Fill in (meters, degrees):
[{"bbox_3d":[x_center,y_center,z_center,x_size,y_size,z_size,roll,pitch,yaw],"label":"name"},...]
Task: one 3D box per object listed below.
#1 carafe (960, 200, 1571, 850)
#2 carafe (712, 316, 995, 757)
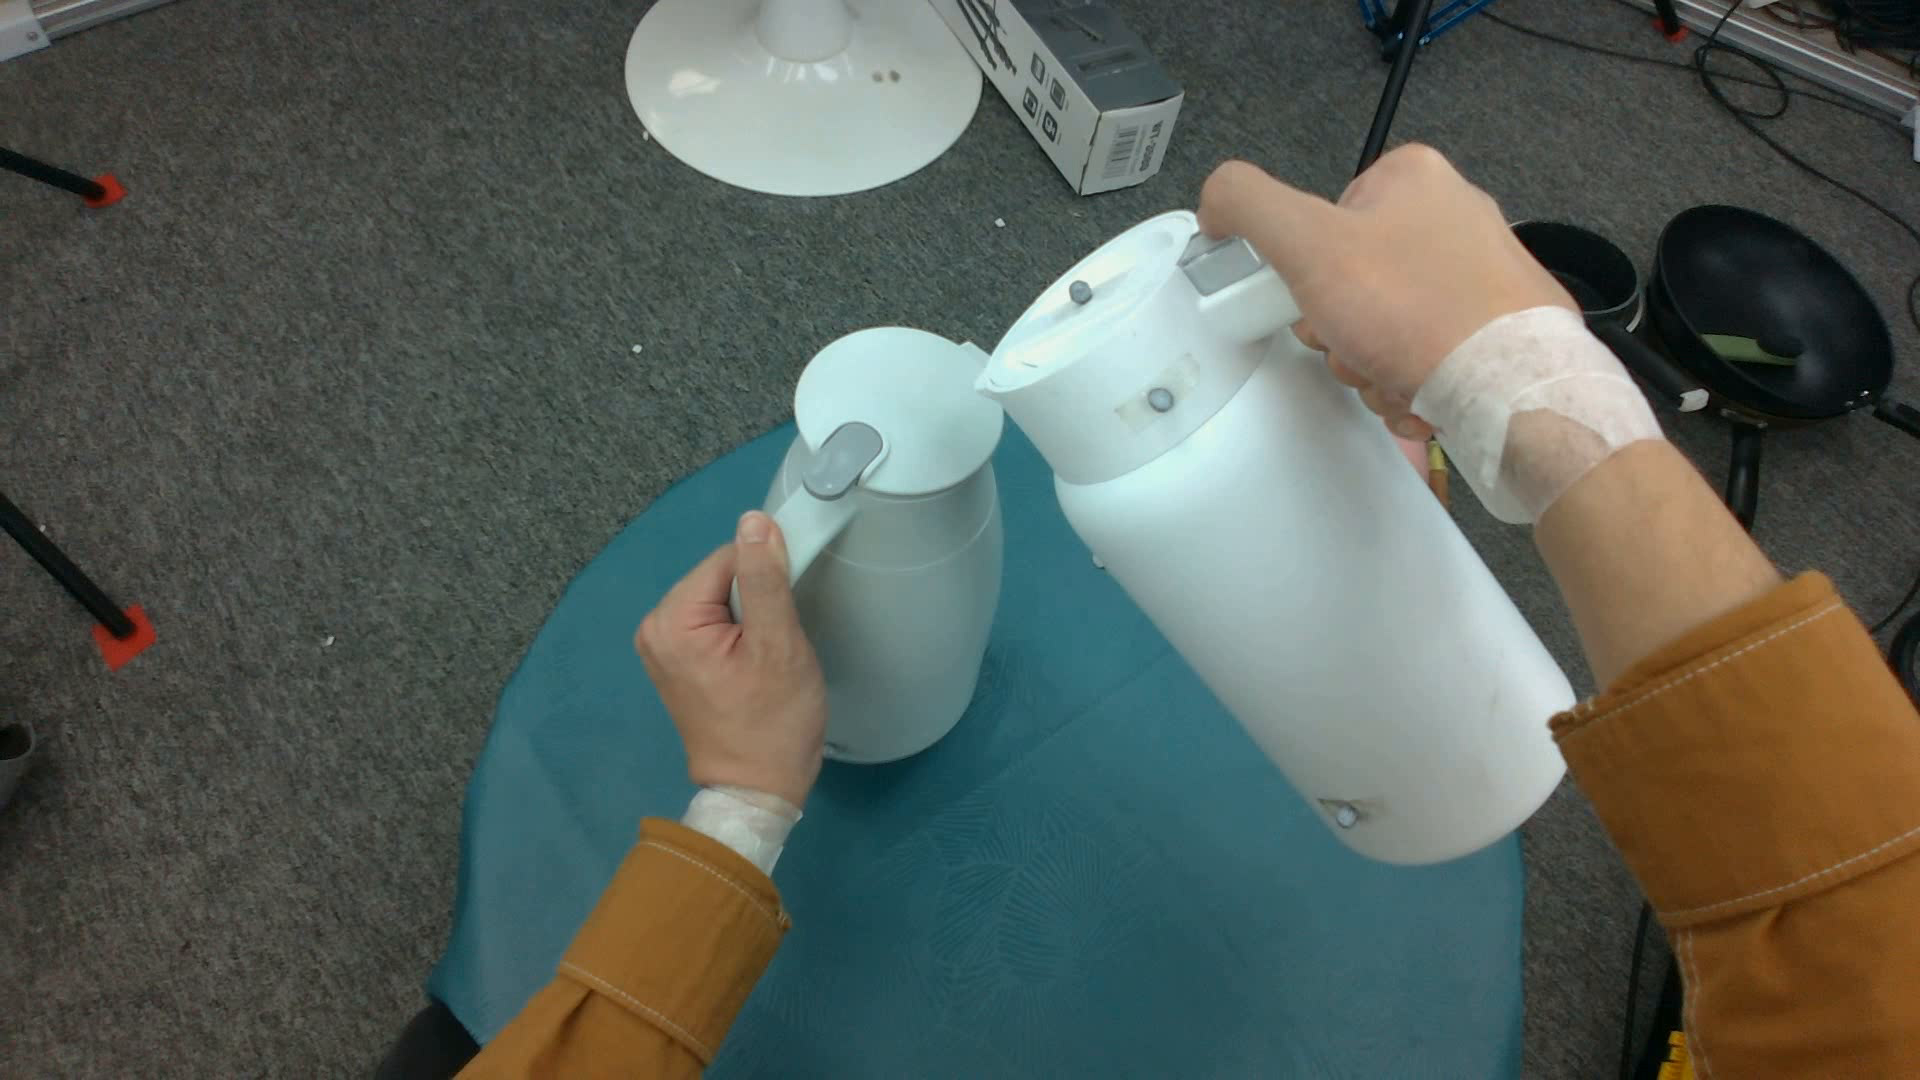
[{"bbox_3d":[0.139,-0.006,0.538,0.268,0.172,0.124,50,47,-19],"label":"carafe"},{"bbox_3d":[-0.055,0.012,0.683,0.132,0.247,0.168,36,60,14],"label":"carafe"}]
